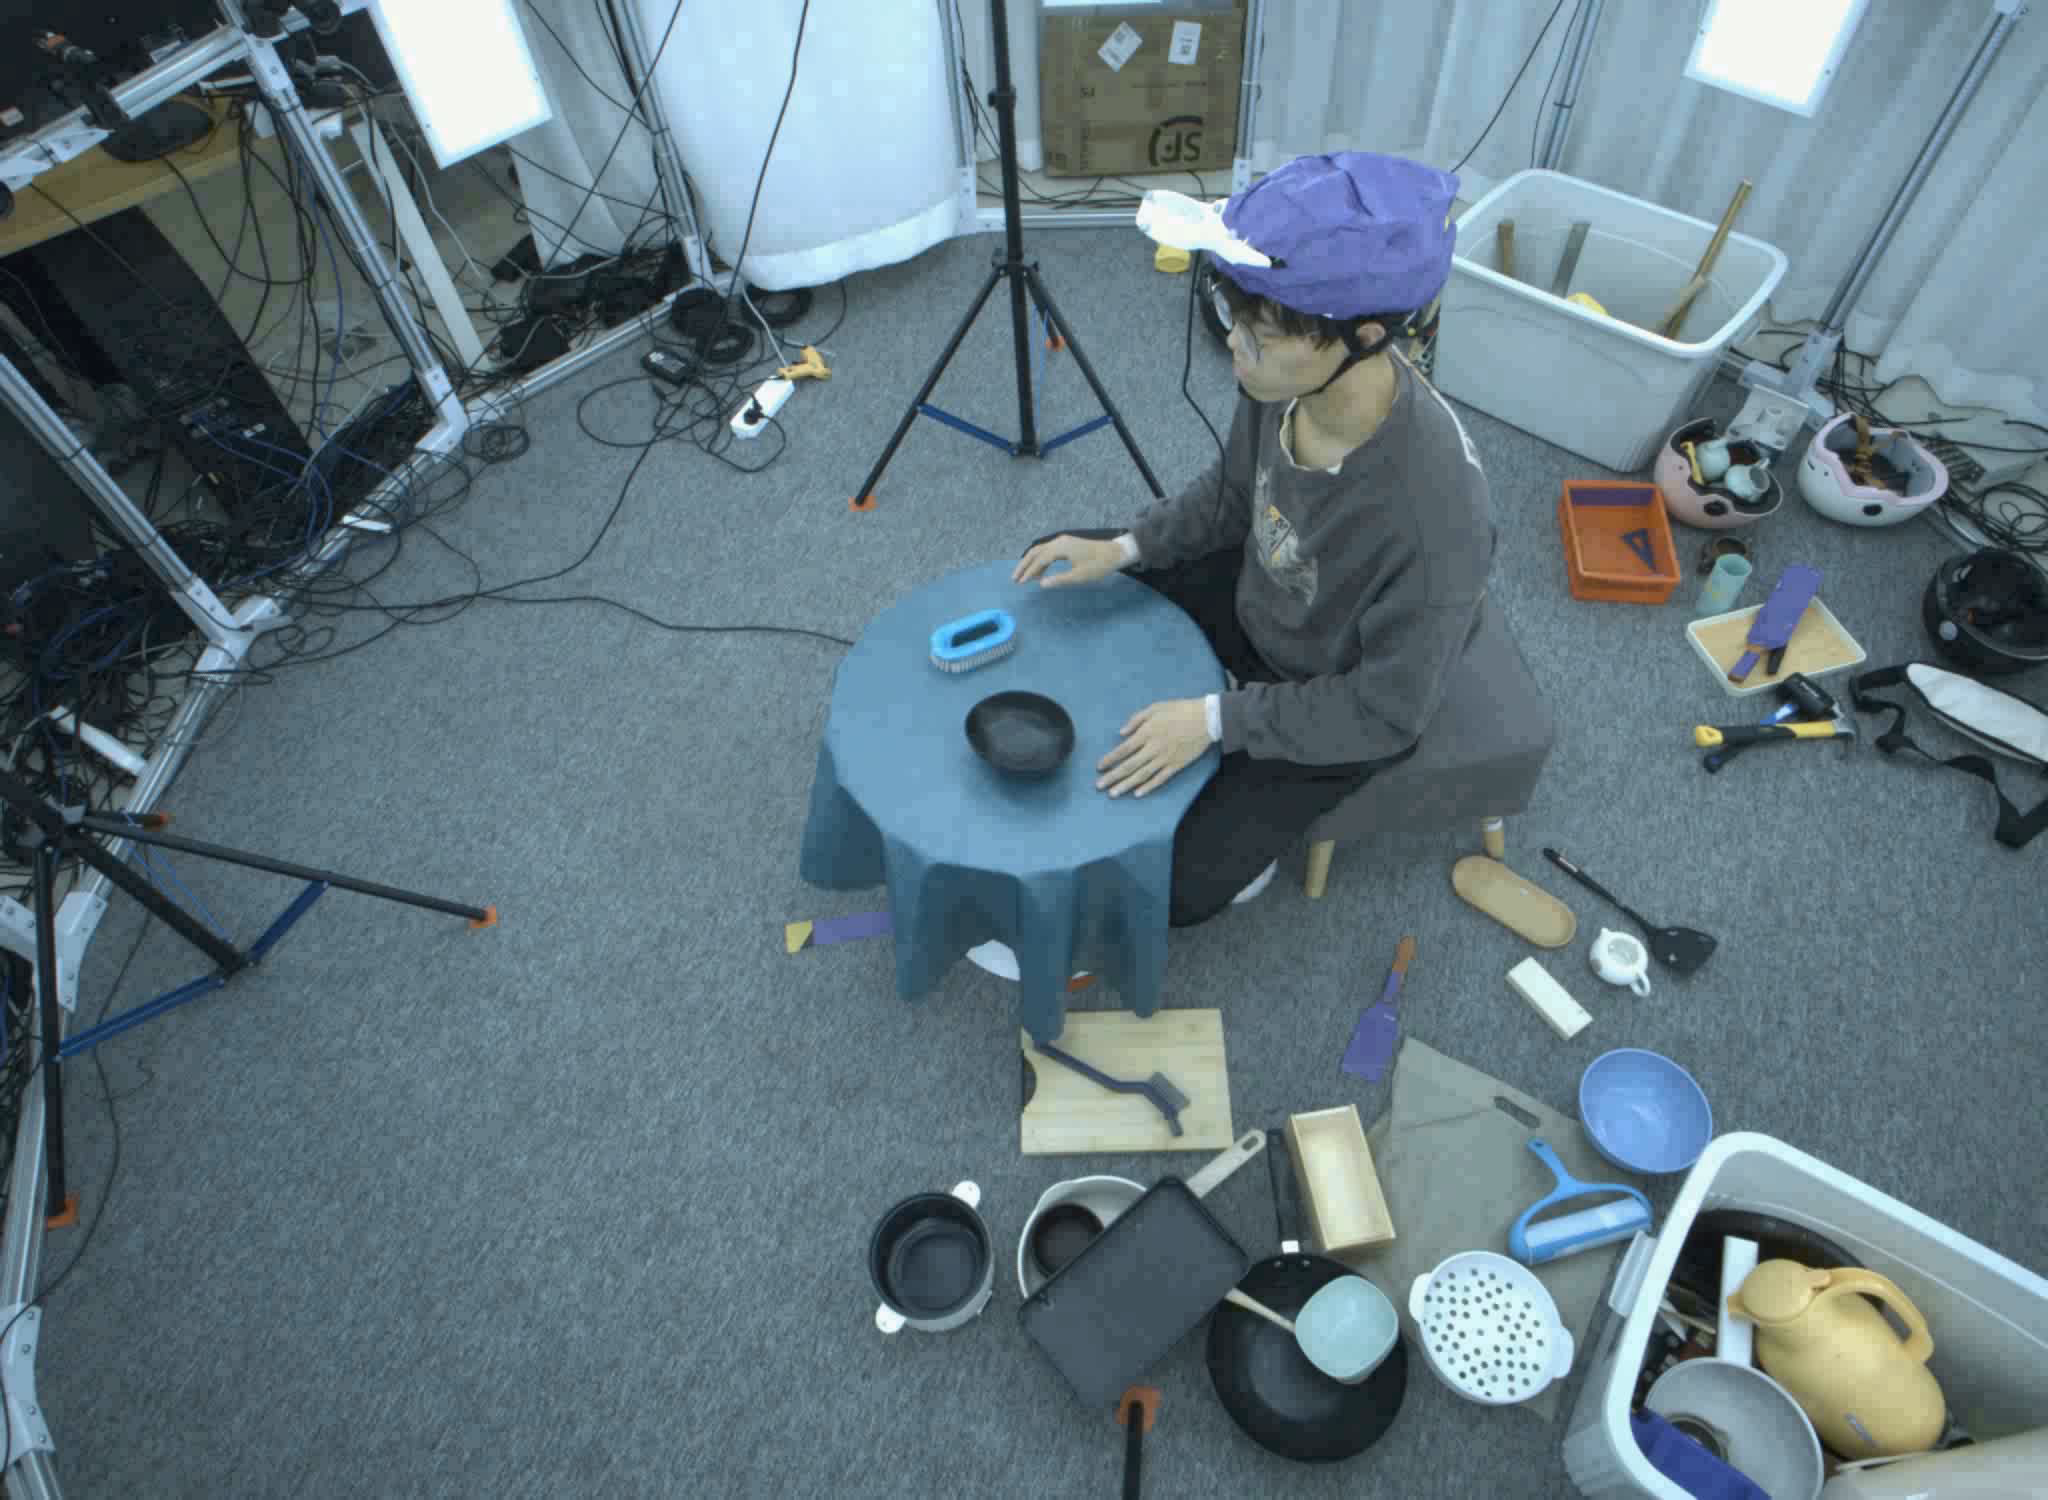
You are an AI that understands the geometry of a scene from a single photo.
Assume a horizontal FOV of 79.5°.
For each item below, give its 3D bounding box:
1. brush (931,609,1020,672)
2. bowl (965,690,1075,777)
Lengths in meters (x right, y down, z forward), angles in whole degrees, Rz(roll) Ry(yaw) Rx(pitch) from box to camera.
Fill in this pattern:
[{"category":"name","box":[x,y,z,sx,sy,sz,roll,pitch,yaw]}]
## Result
[{"category":"brush","box":[-0.077,-0.179,1.875,0.143,0.064,0.082,-20,51,-13]},{"category":"bowl","box":[-0.006,-0.013,1.755,0.167,0.067,0.138,26,59,21]}]
